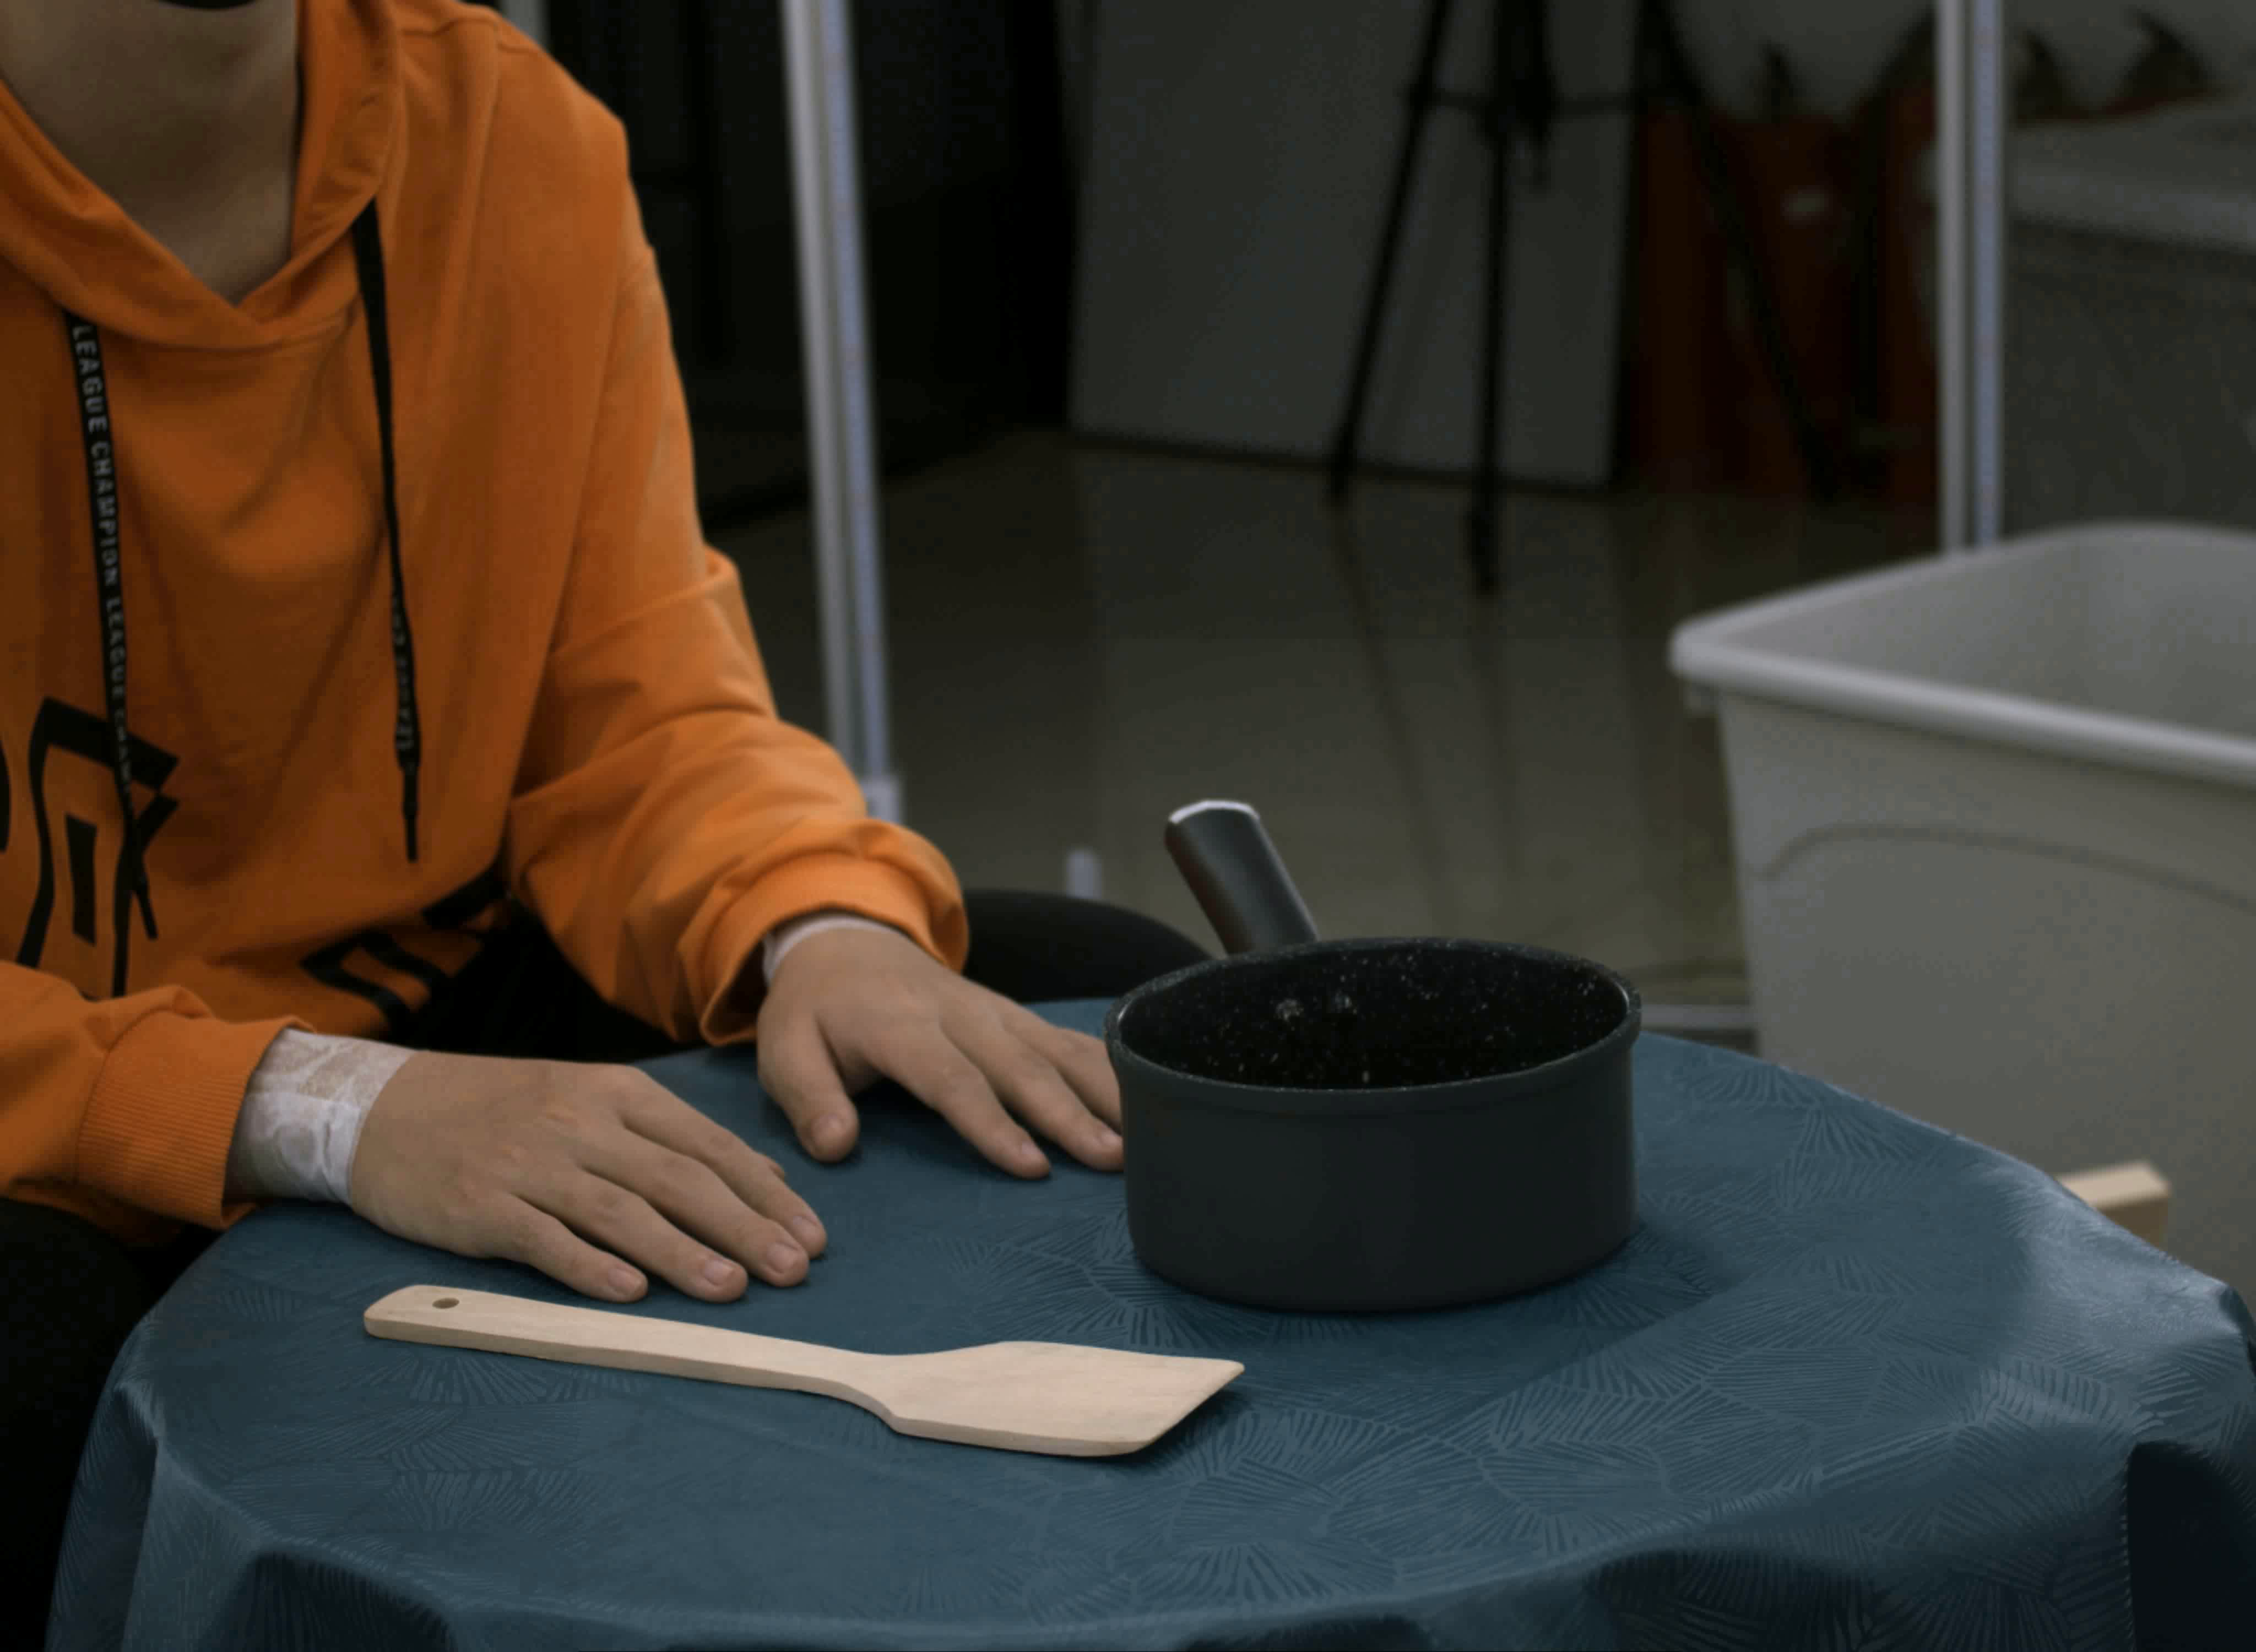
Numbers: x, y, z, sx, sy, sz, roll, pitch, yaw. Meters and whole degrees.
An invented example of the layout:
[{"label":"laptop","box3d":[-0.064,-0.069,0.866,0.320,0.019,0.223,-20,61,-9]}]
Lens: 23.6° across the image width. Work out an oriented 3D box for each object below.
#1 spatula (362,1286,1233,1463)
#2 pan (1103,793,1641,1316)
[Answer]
[{"label":"spatula","box3d":[-0.109,0.161,1.622,0.294,0.011,0.071,4,19,30]},{"label":"pan","box3d":[0.066,0.071,1.776,0.169,0.087,0.330,-5,15,-7]}]
